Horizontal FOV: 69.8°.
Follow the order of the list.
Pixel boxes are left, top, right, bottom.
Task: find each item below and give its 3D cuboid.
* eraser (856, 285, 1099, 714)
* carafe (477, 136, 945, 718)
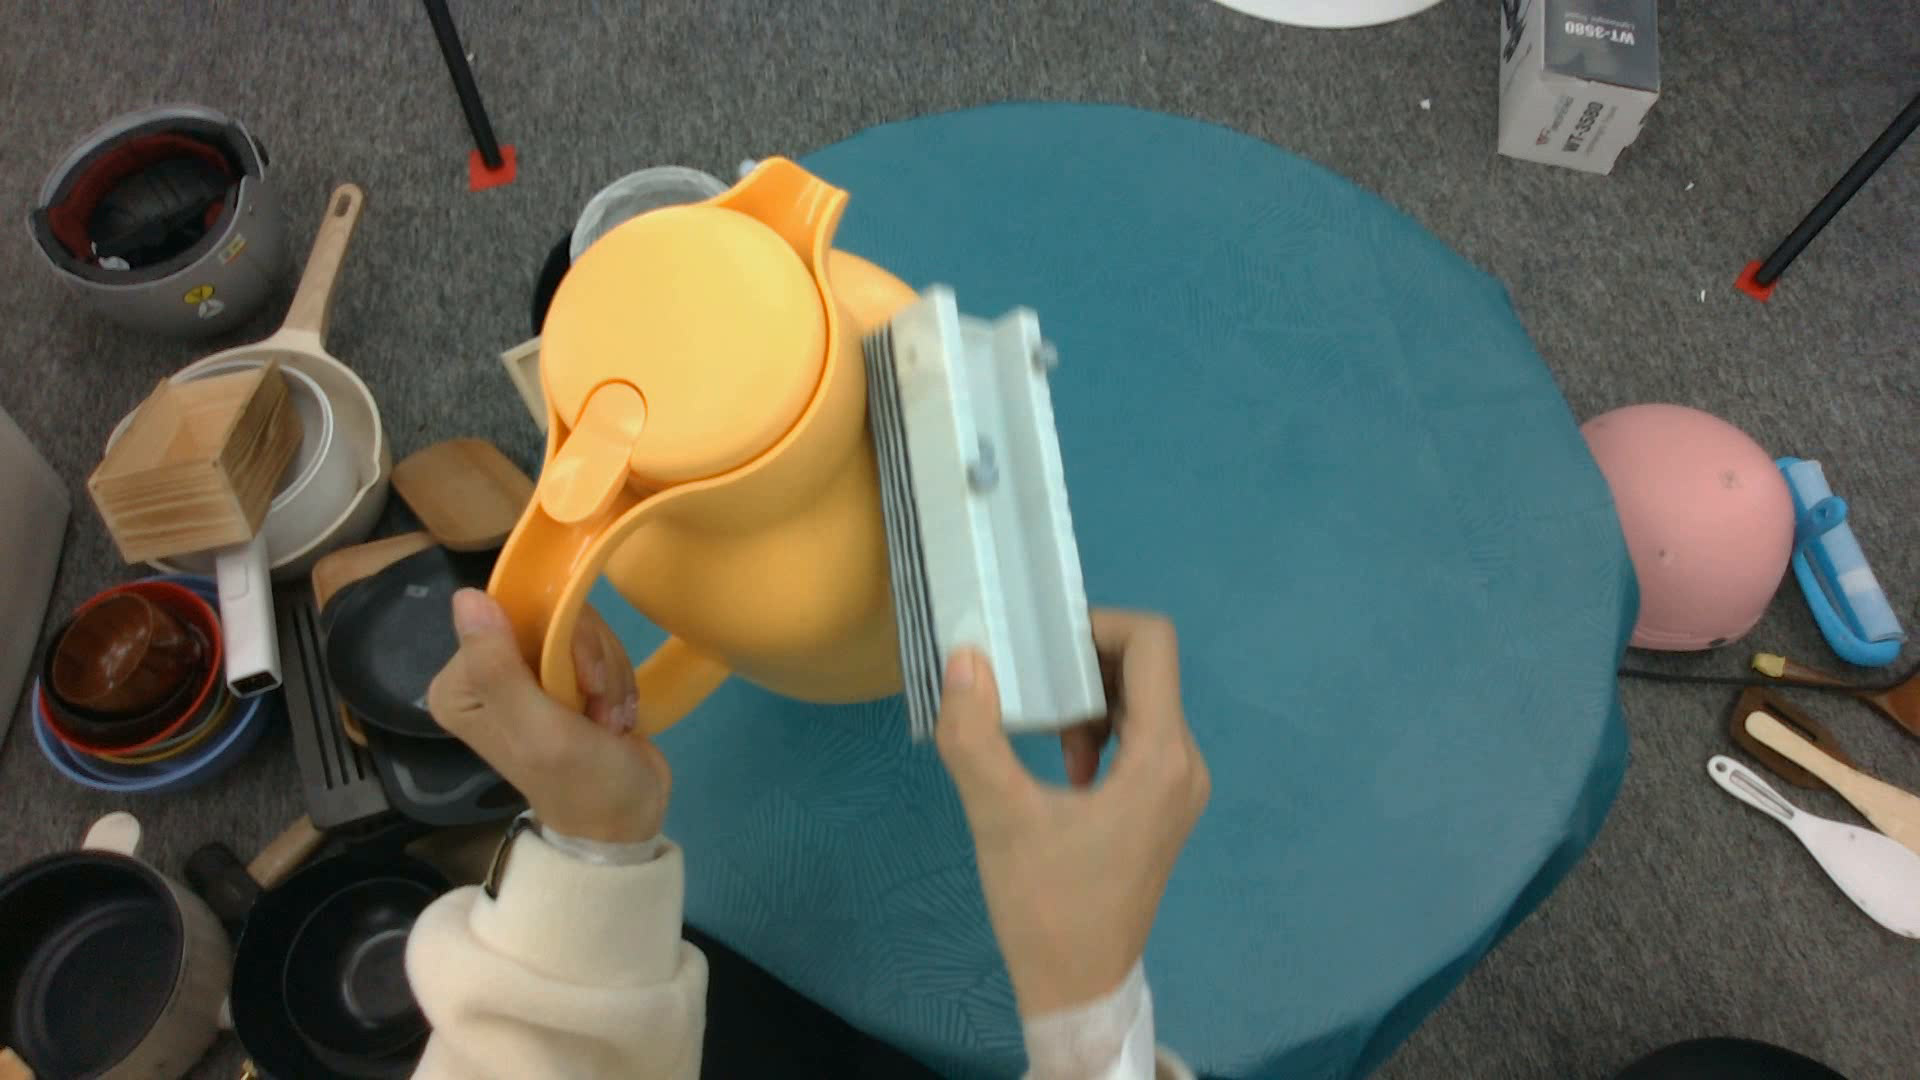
[{"bbox_3d":[0.004,-0.012,0.456,0.050,0.046,0.134,3,71,-49],"label":"eraser"},{"bbox_3d":[-0.082,-0.022,0.536,0.163,0.260,0.203,31,80,18],"label":"carafe"}]
